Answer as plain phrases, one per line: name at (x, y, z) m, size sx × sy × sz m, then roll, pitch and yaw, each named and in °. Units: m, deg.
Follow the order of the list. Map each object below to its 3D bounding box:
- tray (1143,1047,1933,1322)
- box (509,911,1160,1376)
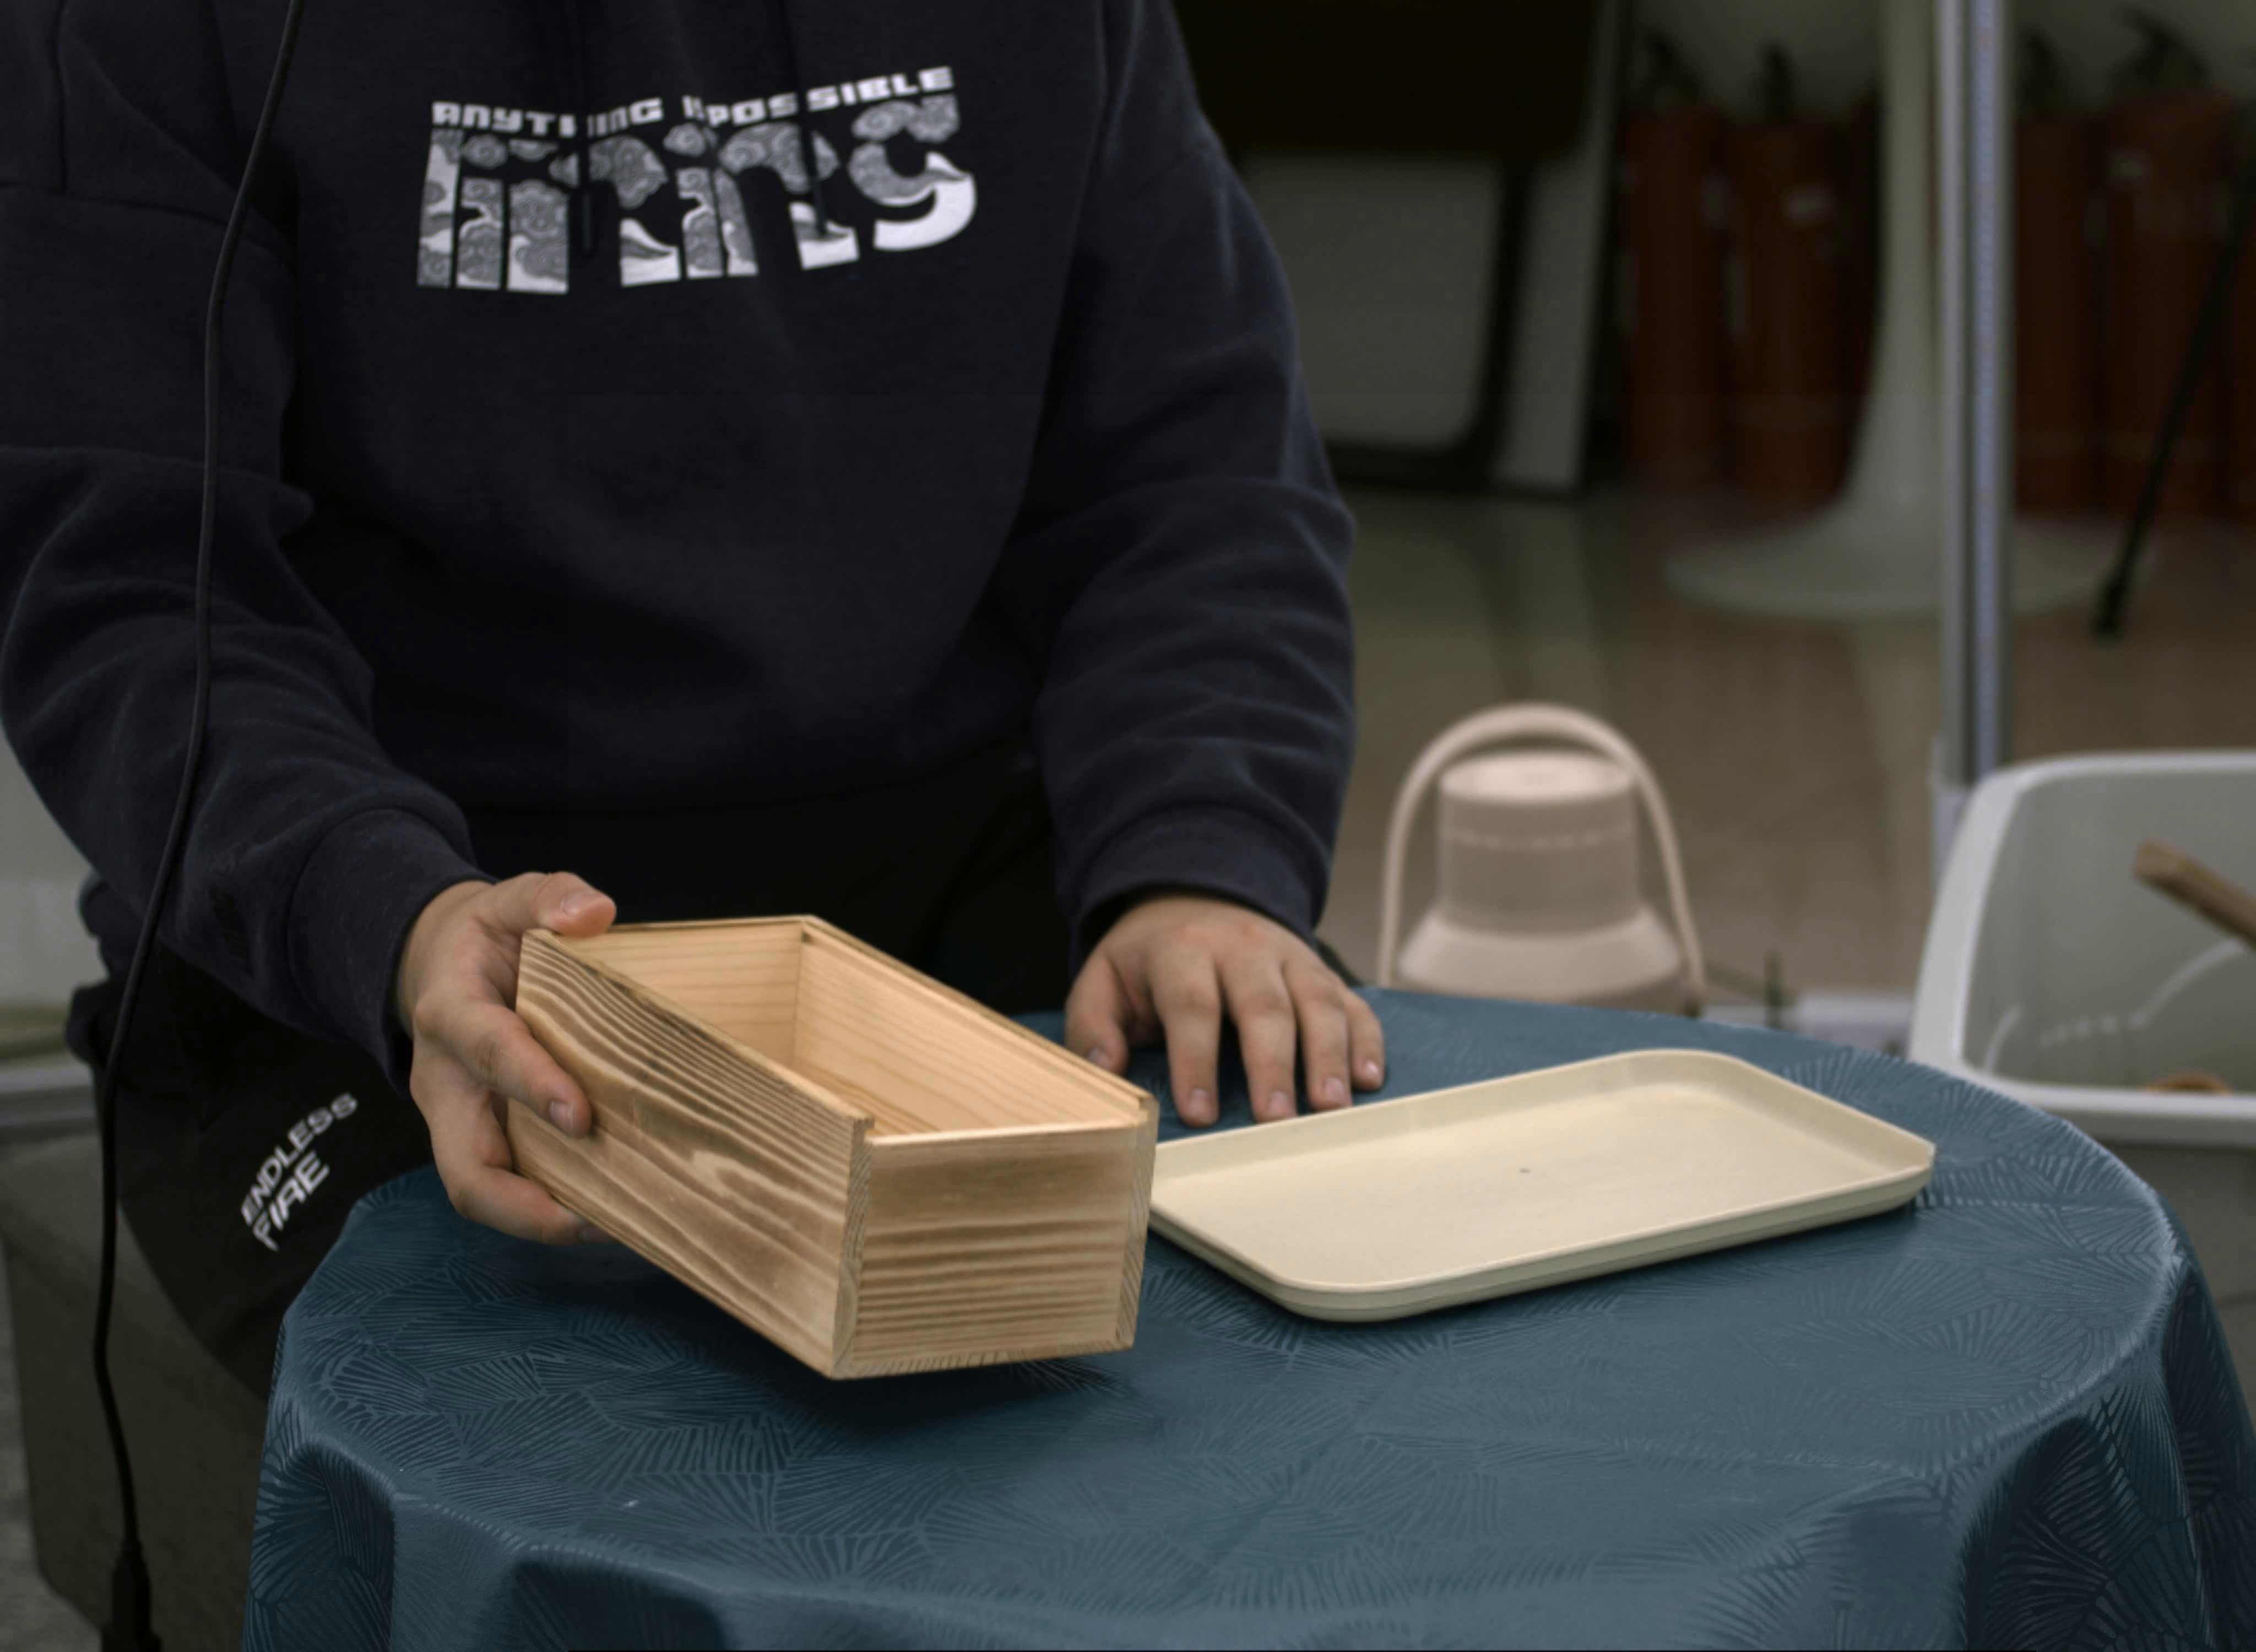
tray at (0.126, 0.115, 1.729) m, size 0.234 × 0.017 × 0.173 m, roll -10°, pitch 14°, yaw -24°
box at (-0.093, 0.092, 1.645) m, size 0.105 × 0.081 × 0.214 m, roll -2°, pitch 15°, yaw -33°
